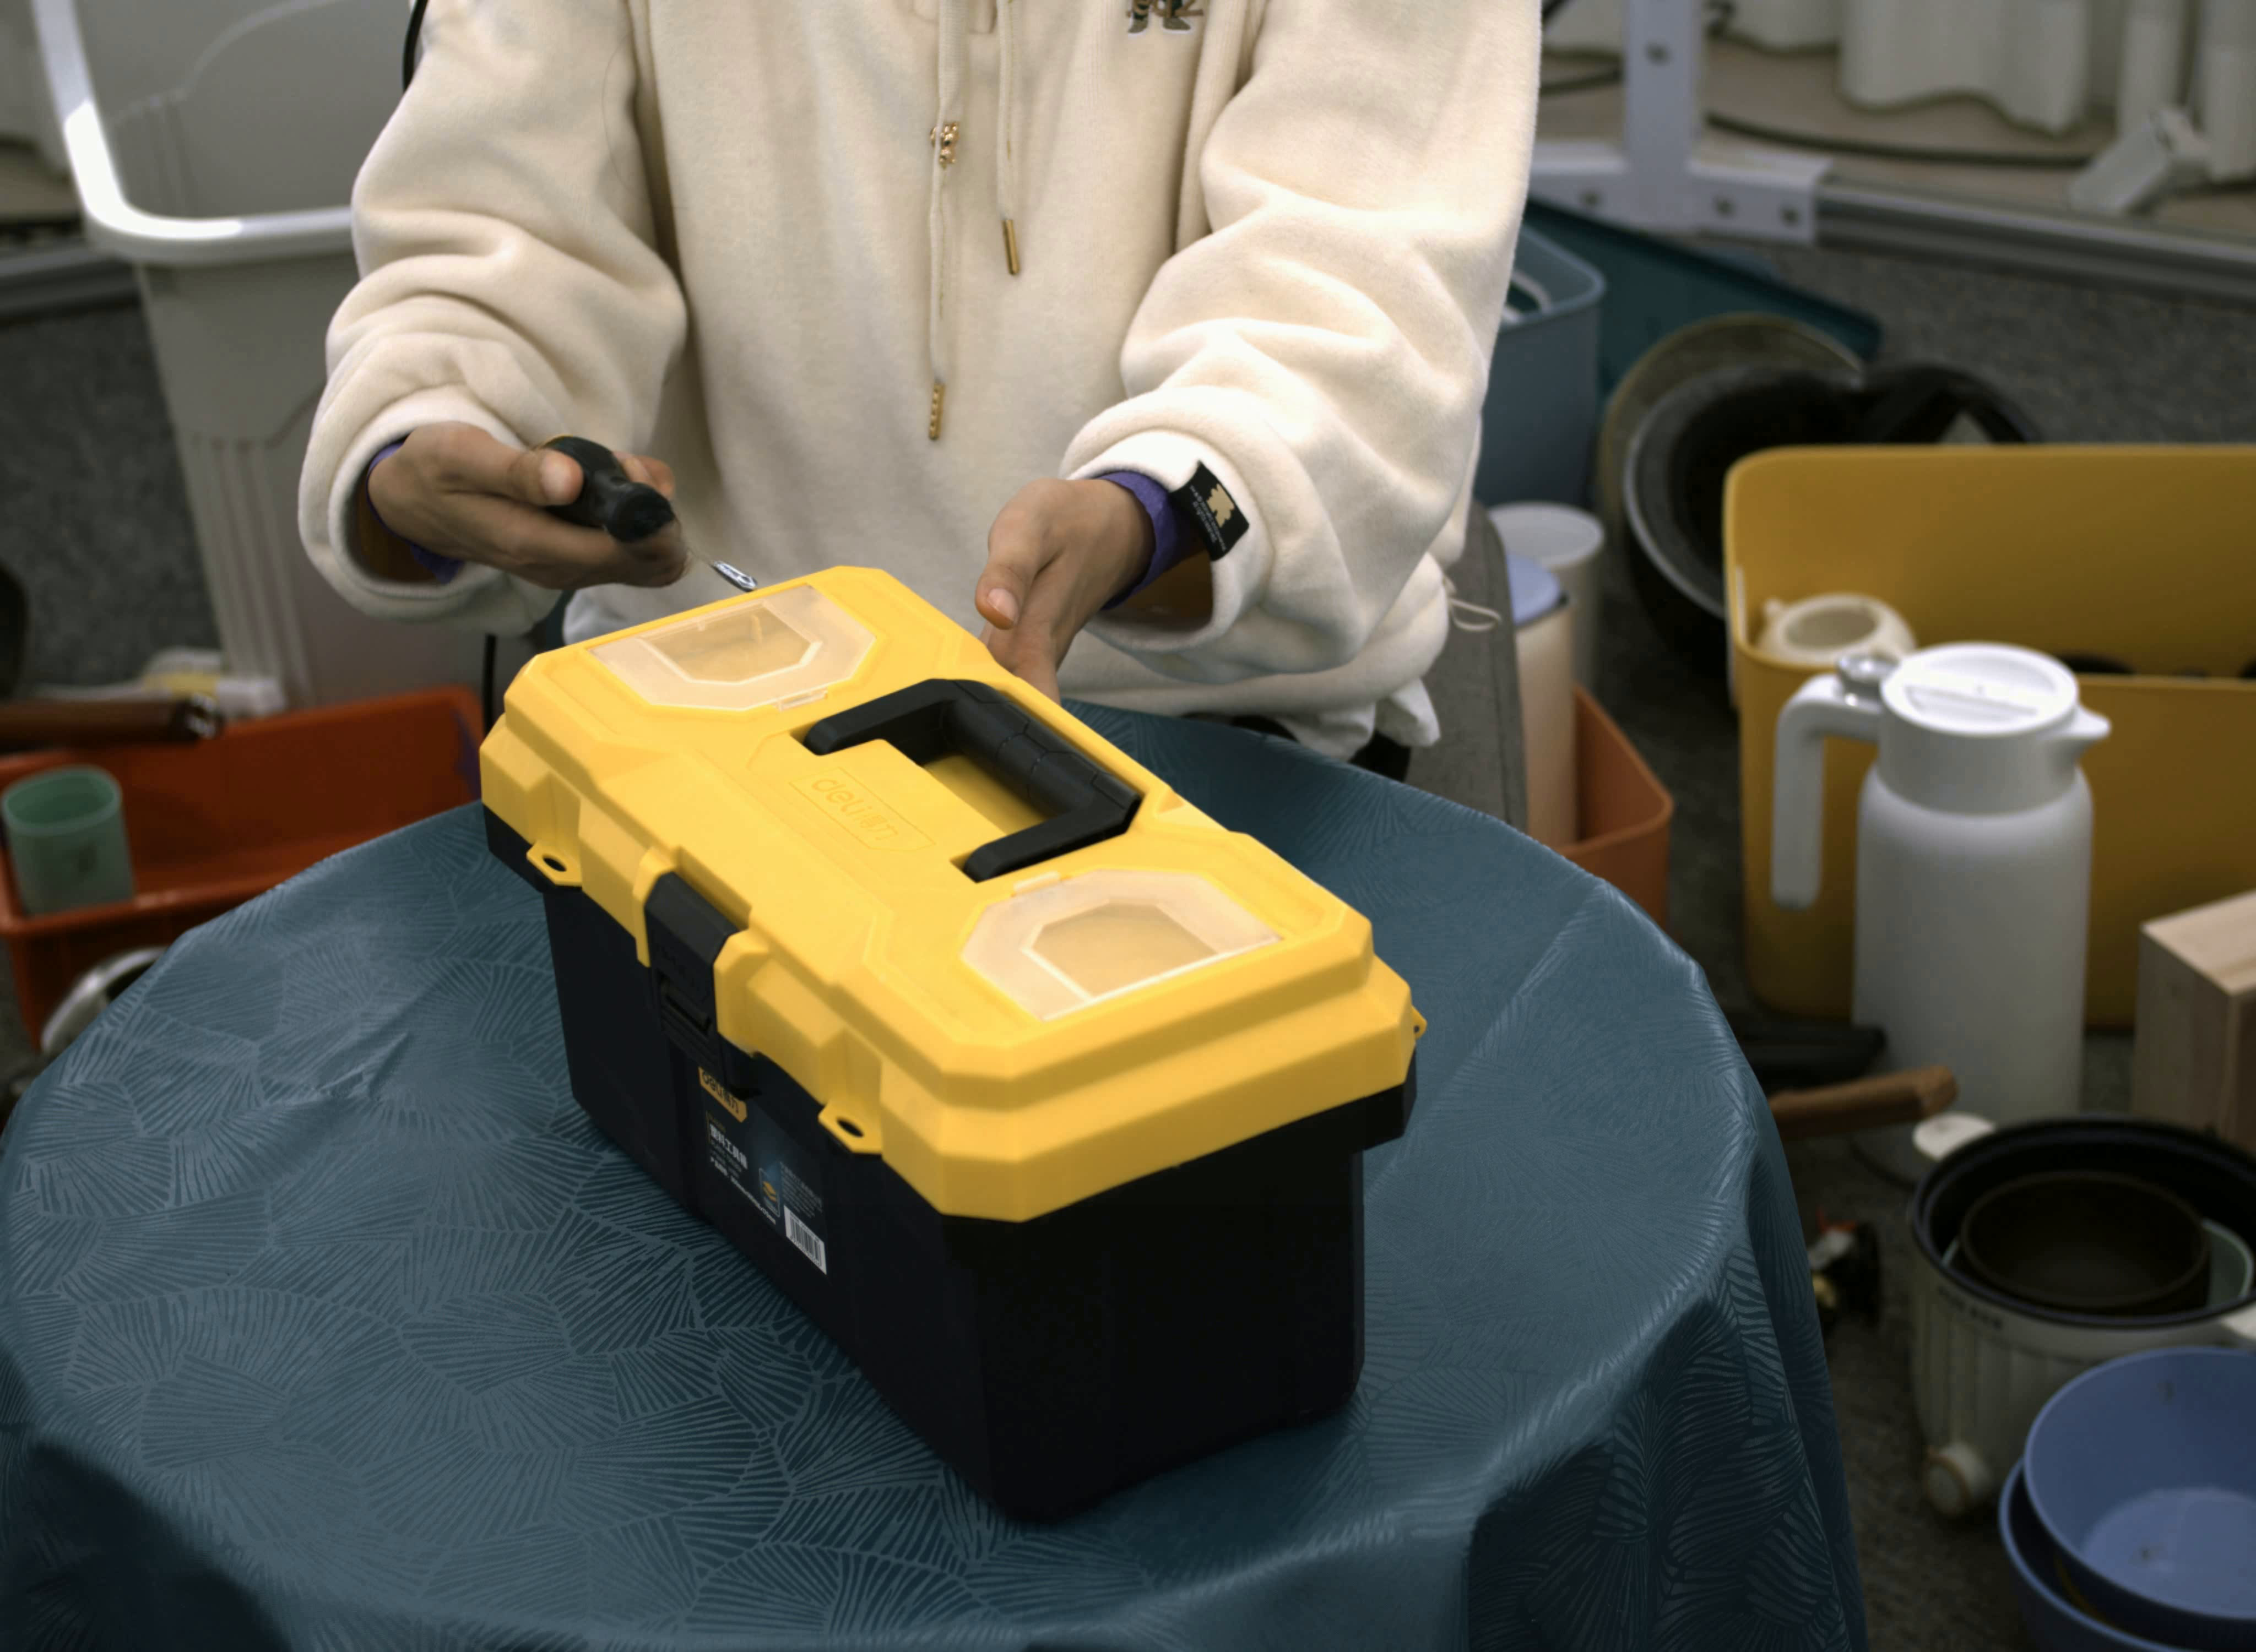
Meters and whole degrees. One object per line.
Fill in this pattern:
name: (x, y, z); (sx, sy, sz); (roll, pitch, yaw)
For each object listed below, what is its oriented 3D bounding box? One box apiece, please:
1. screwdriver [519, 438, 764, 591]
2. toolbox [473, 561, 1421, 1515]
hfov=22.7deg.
screwdriver: (-0.169, -0.103, 1.980); (0.031, 0.031, 0.197); (-16, 25, -24)
toolbox: (-0.062, 0.061, 1.797); (0.182, 0.171, 0.353); (-17, 30, -26)
